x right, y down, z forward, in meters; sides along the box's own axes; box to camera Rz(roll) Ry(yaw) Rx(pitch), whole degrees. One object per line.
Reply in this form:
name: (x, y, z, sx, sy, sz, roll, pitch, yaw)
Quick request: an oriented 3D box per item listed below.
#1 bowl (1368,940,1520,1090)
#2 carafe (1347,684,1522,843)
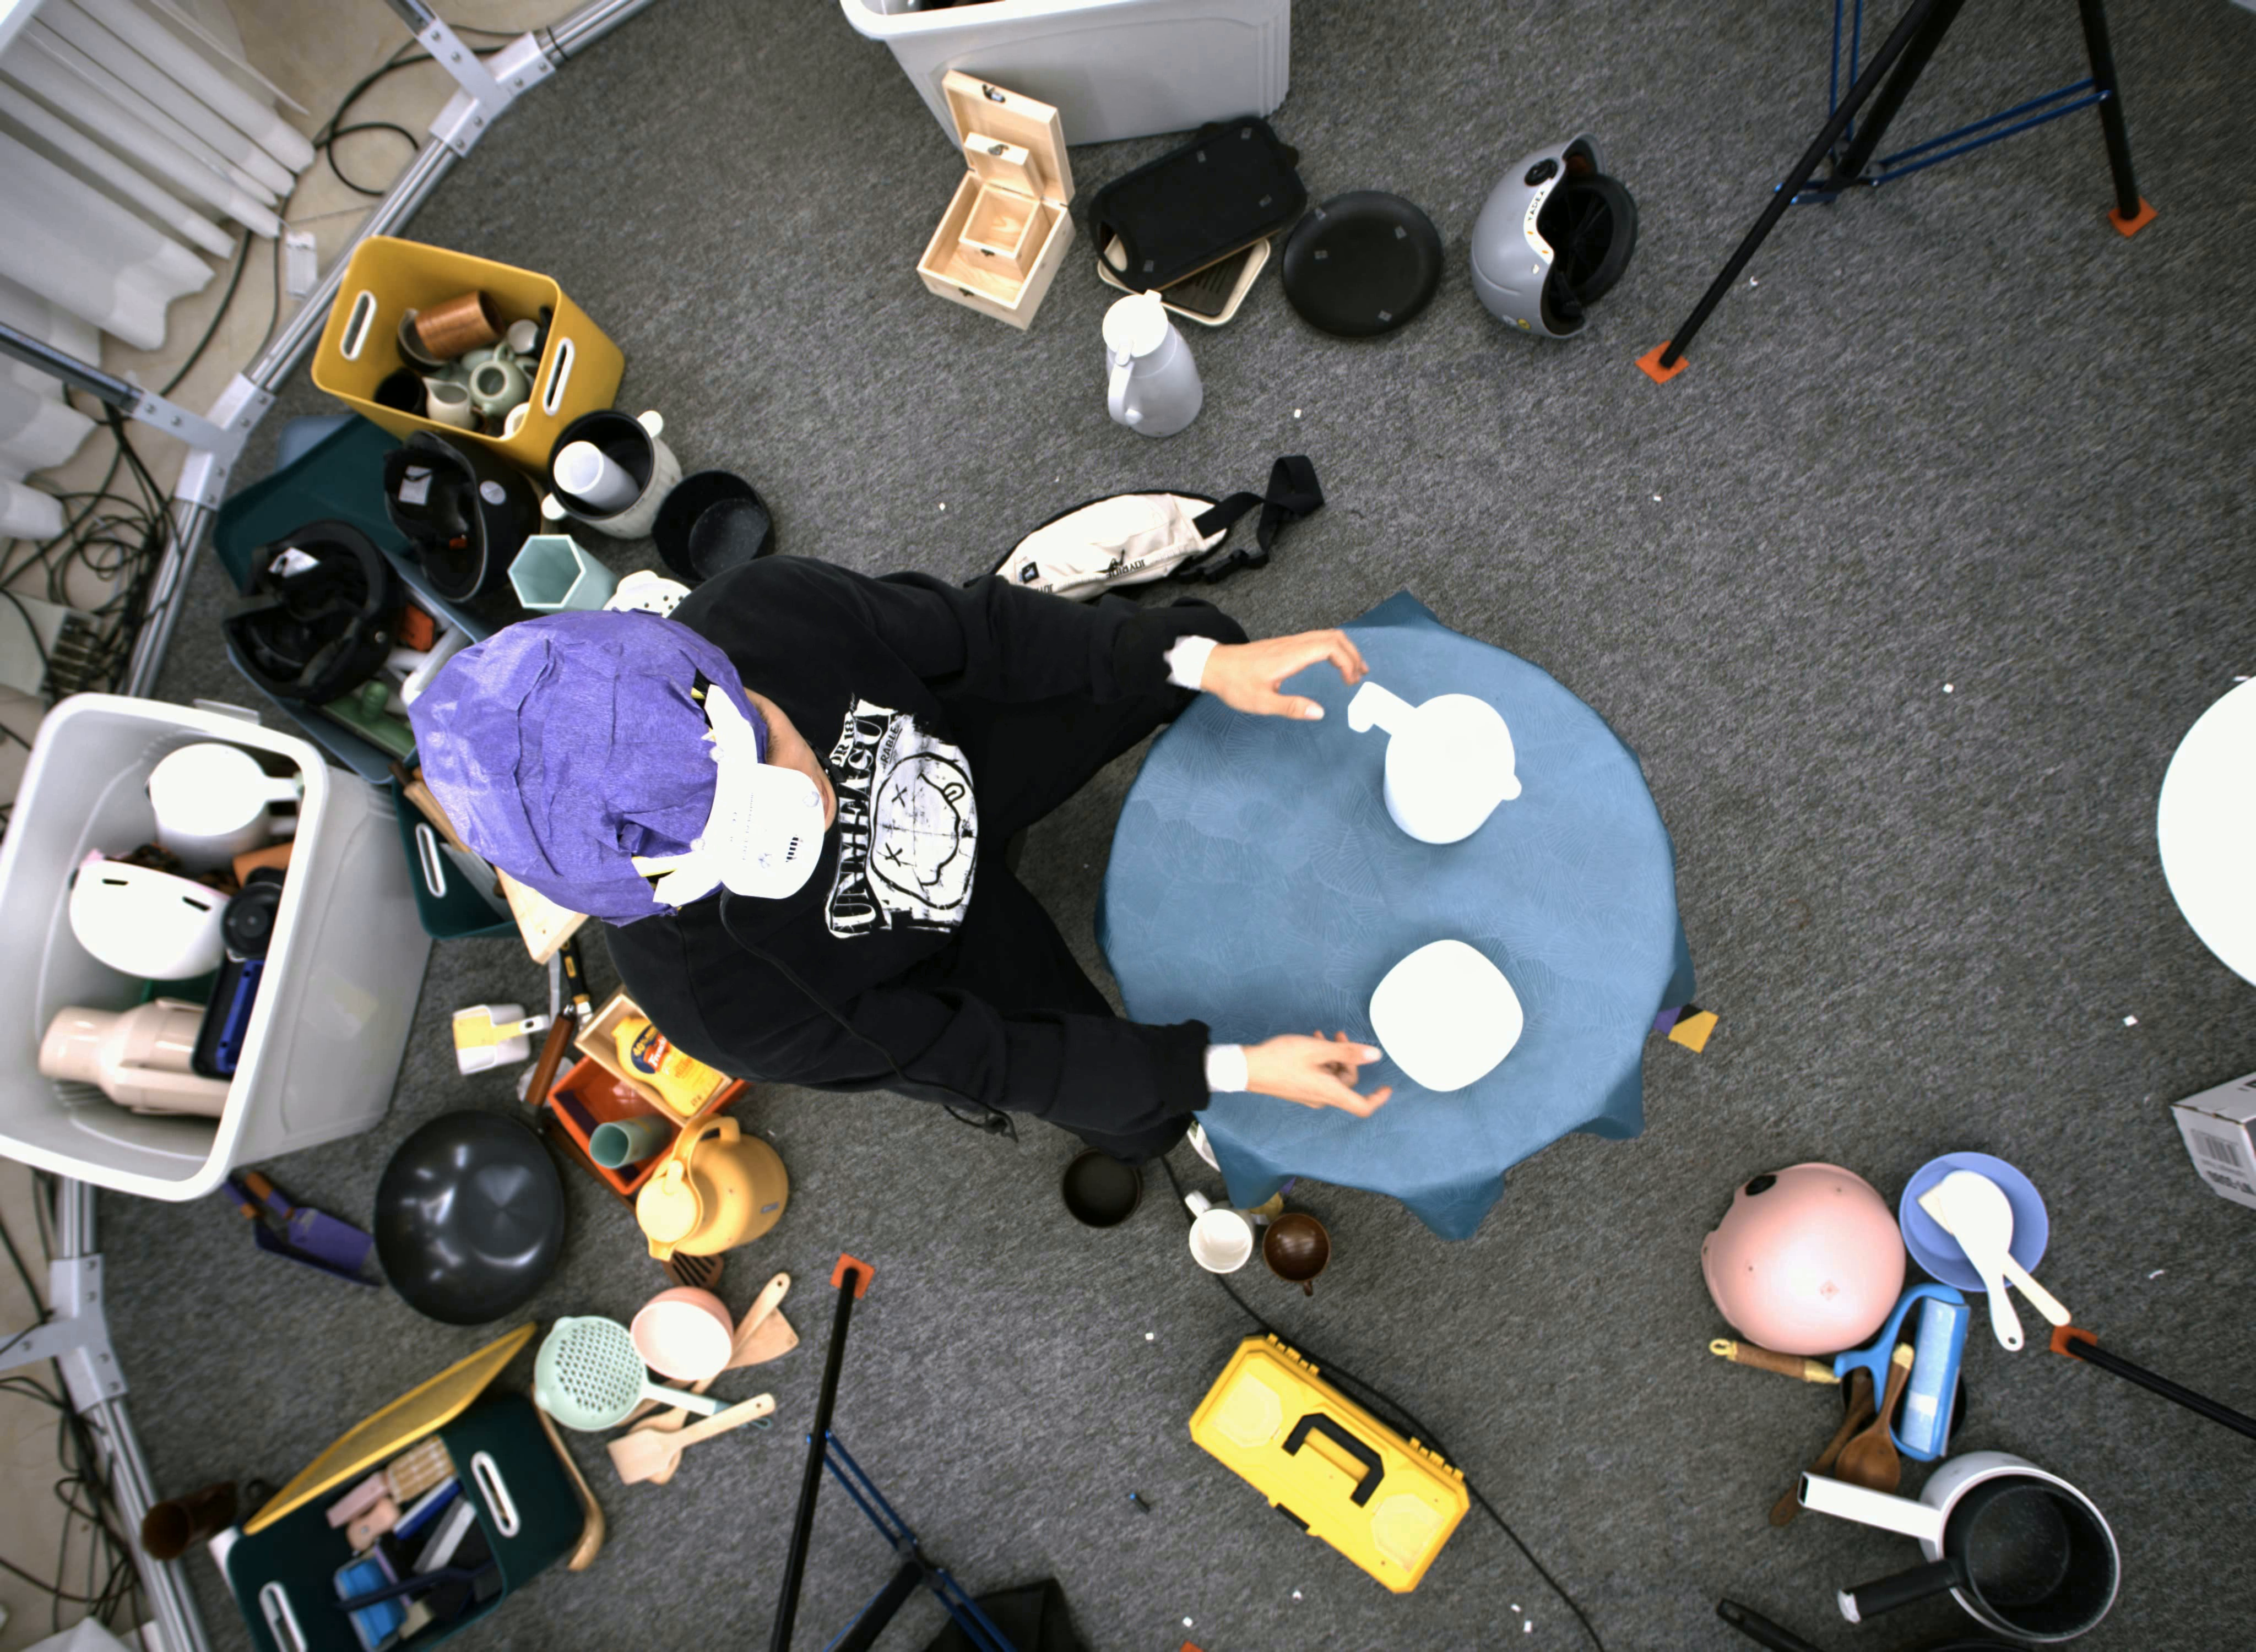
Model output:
bowl: (0.323, 0.192, 1.419, 0.152, 0.058, 0.151, -1, 86, 11)
carafe: (0.291, -0.062, 1.328, 0.172, 0.268, 0.124, 33, 93, 11)
